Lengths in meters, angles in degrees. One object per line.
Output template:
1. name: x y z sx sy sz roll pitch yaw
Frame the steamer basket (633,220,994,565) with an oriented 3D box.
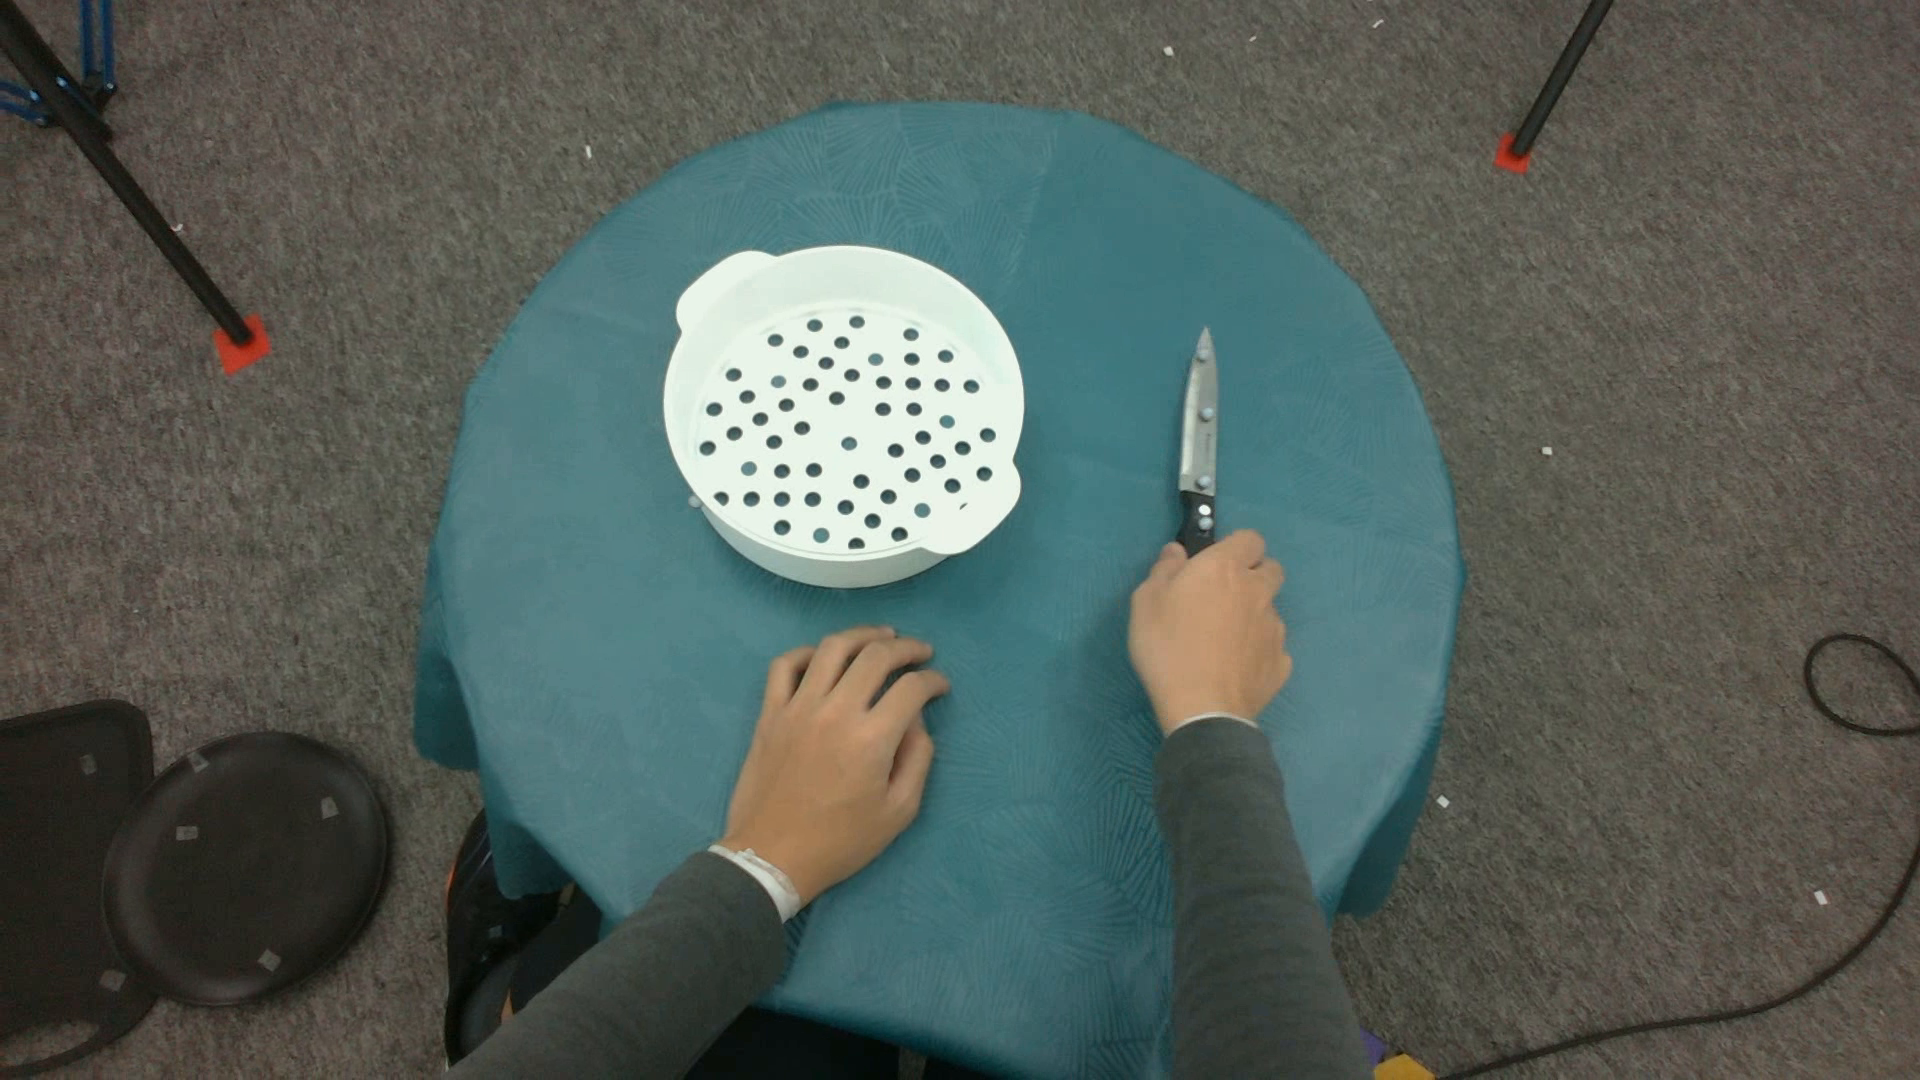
1. steamer basket: -0.083 -0.084 0.795 0.230 0.069 0.202 42 71 13

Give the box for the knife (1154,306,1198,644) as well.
1. knife: 0.130 -0.045 0.814 0.024 0.016 0.239 16 58 -15
